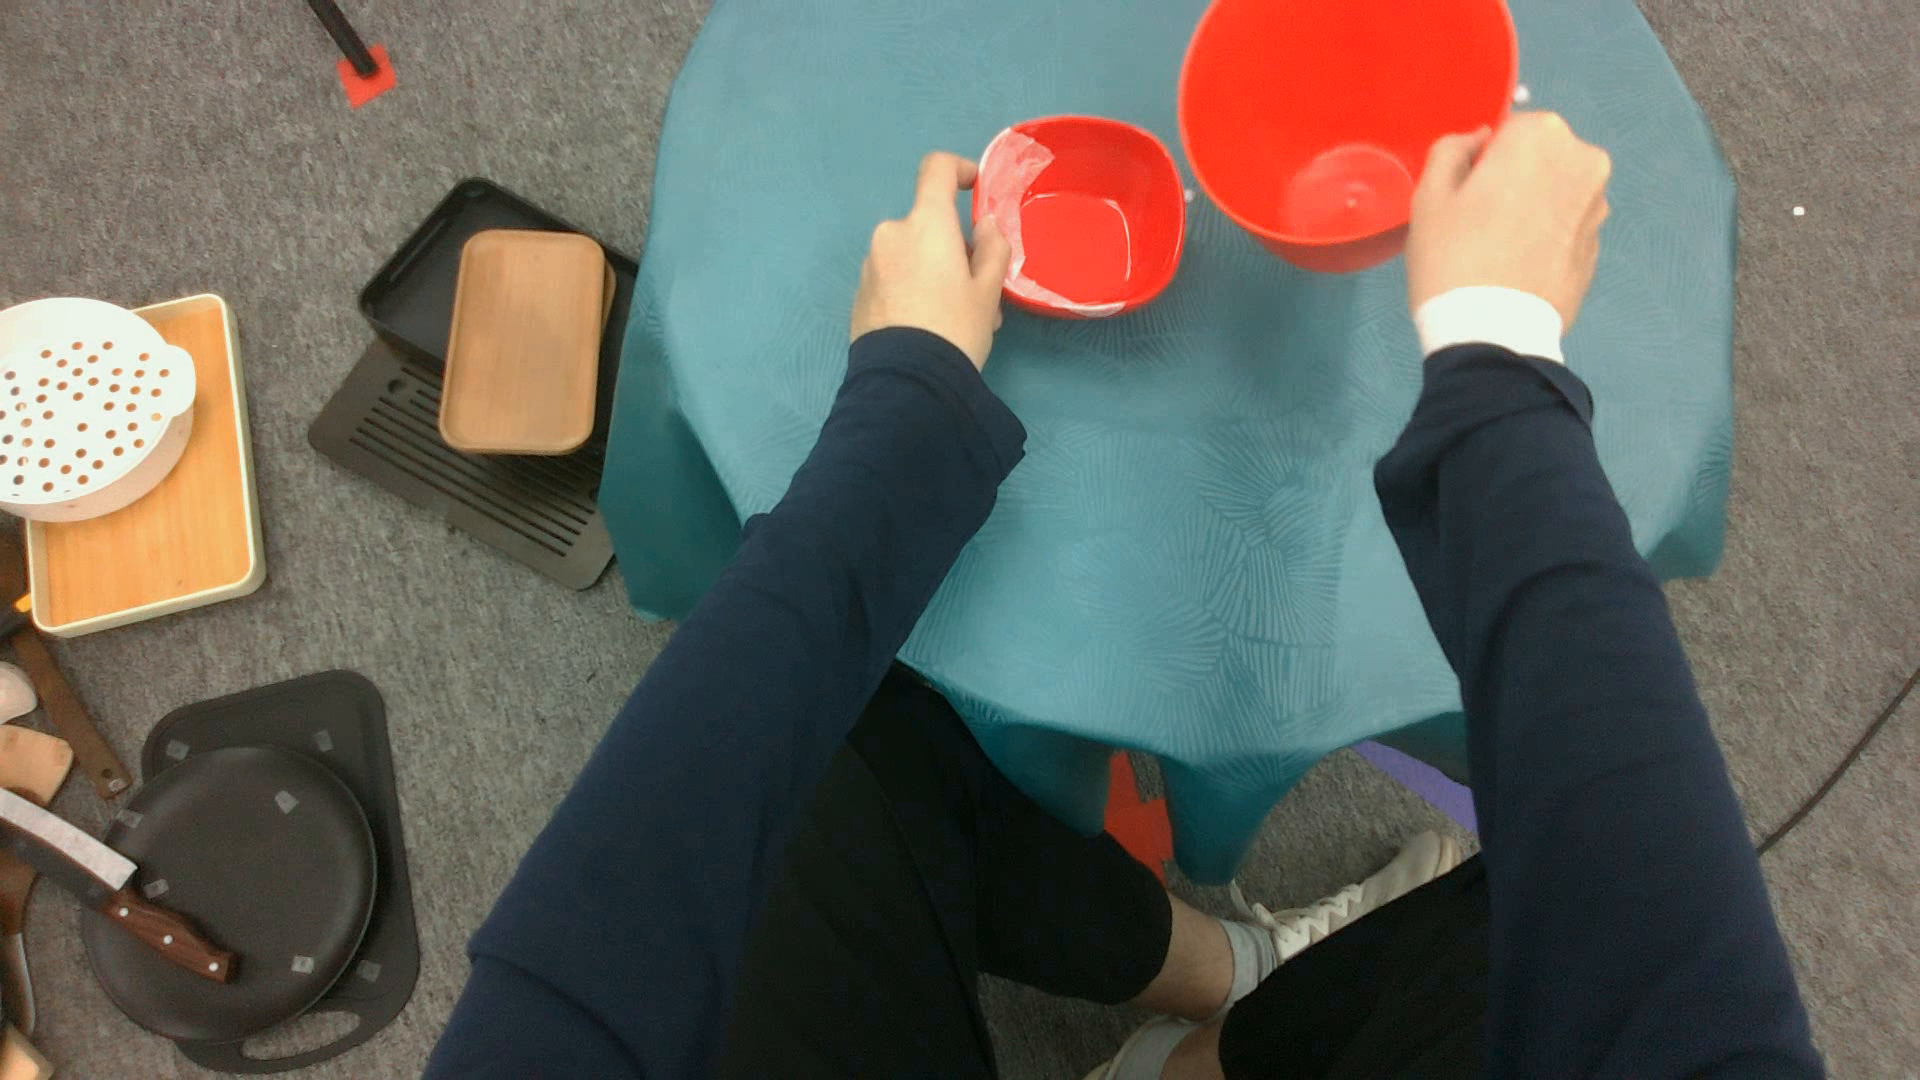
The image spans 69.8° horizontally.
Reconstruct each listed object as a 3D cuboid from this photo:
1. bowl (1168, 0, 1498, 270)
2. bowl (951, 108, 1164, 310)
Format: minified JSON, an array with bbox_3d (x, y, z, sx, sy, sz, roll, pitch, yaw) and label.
[{"bbox_3d":[0.181,-0.197,0.669,0.148,0.104,0.148,-6,70,16],"label":"bowl"},{"bbox_3d":[0.049,-0.167,0.731,0.119,0.051,0.119,1,76,-4],"label":"bowl"}]
